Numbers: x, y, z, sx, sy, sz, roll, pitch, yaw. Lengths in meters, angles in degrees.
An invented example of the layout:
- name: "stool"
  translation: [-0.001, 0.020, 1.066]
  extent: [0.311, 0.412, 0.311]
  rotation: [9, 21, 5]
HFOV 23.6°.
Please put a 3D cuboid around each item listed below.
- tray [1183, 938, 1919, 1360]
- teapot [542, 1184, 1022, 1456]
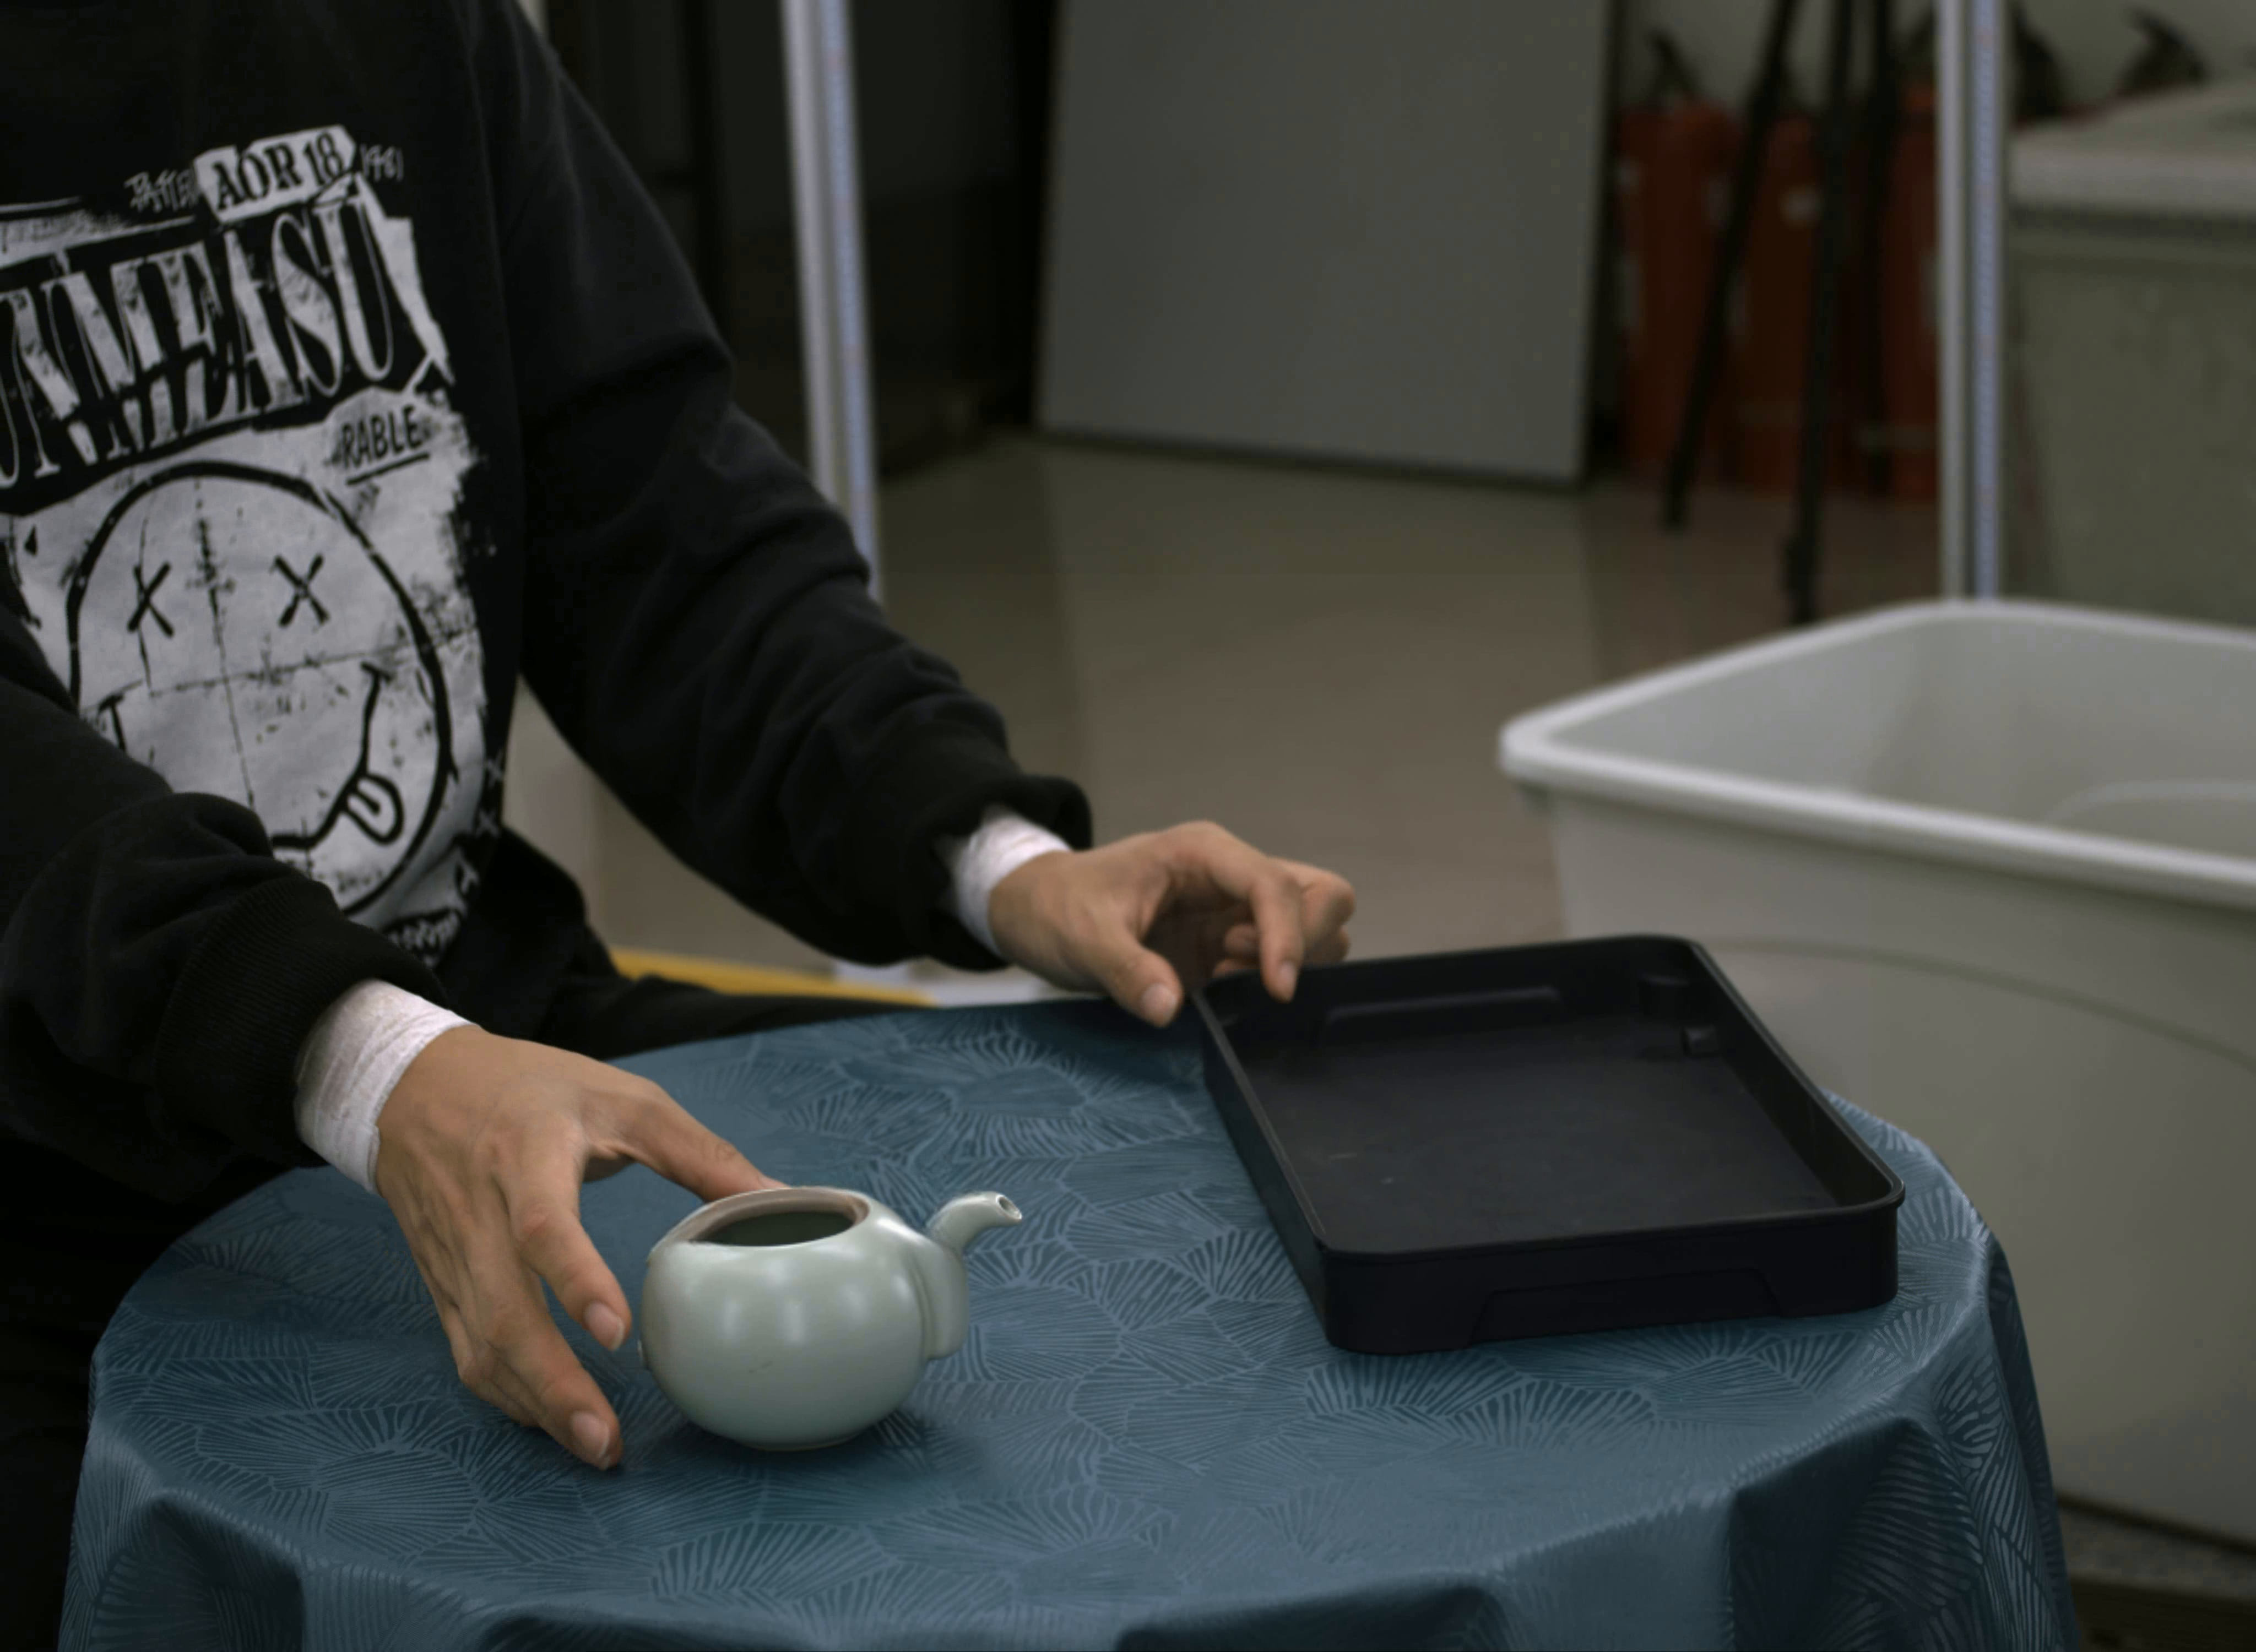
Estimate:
- name: "tray"
  translation: [0.130, 0.099, 1.747]
  extent: [0.181, 0.037, 0.319]
  rotation: [-6, 14, -7]
- name: "teapot"
  translation: [-0.099, 0.141, 1.571]
  extent: [0.143, 0.075, 0.088]
  rotation: [0, 14, 11]
